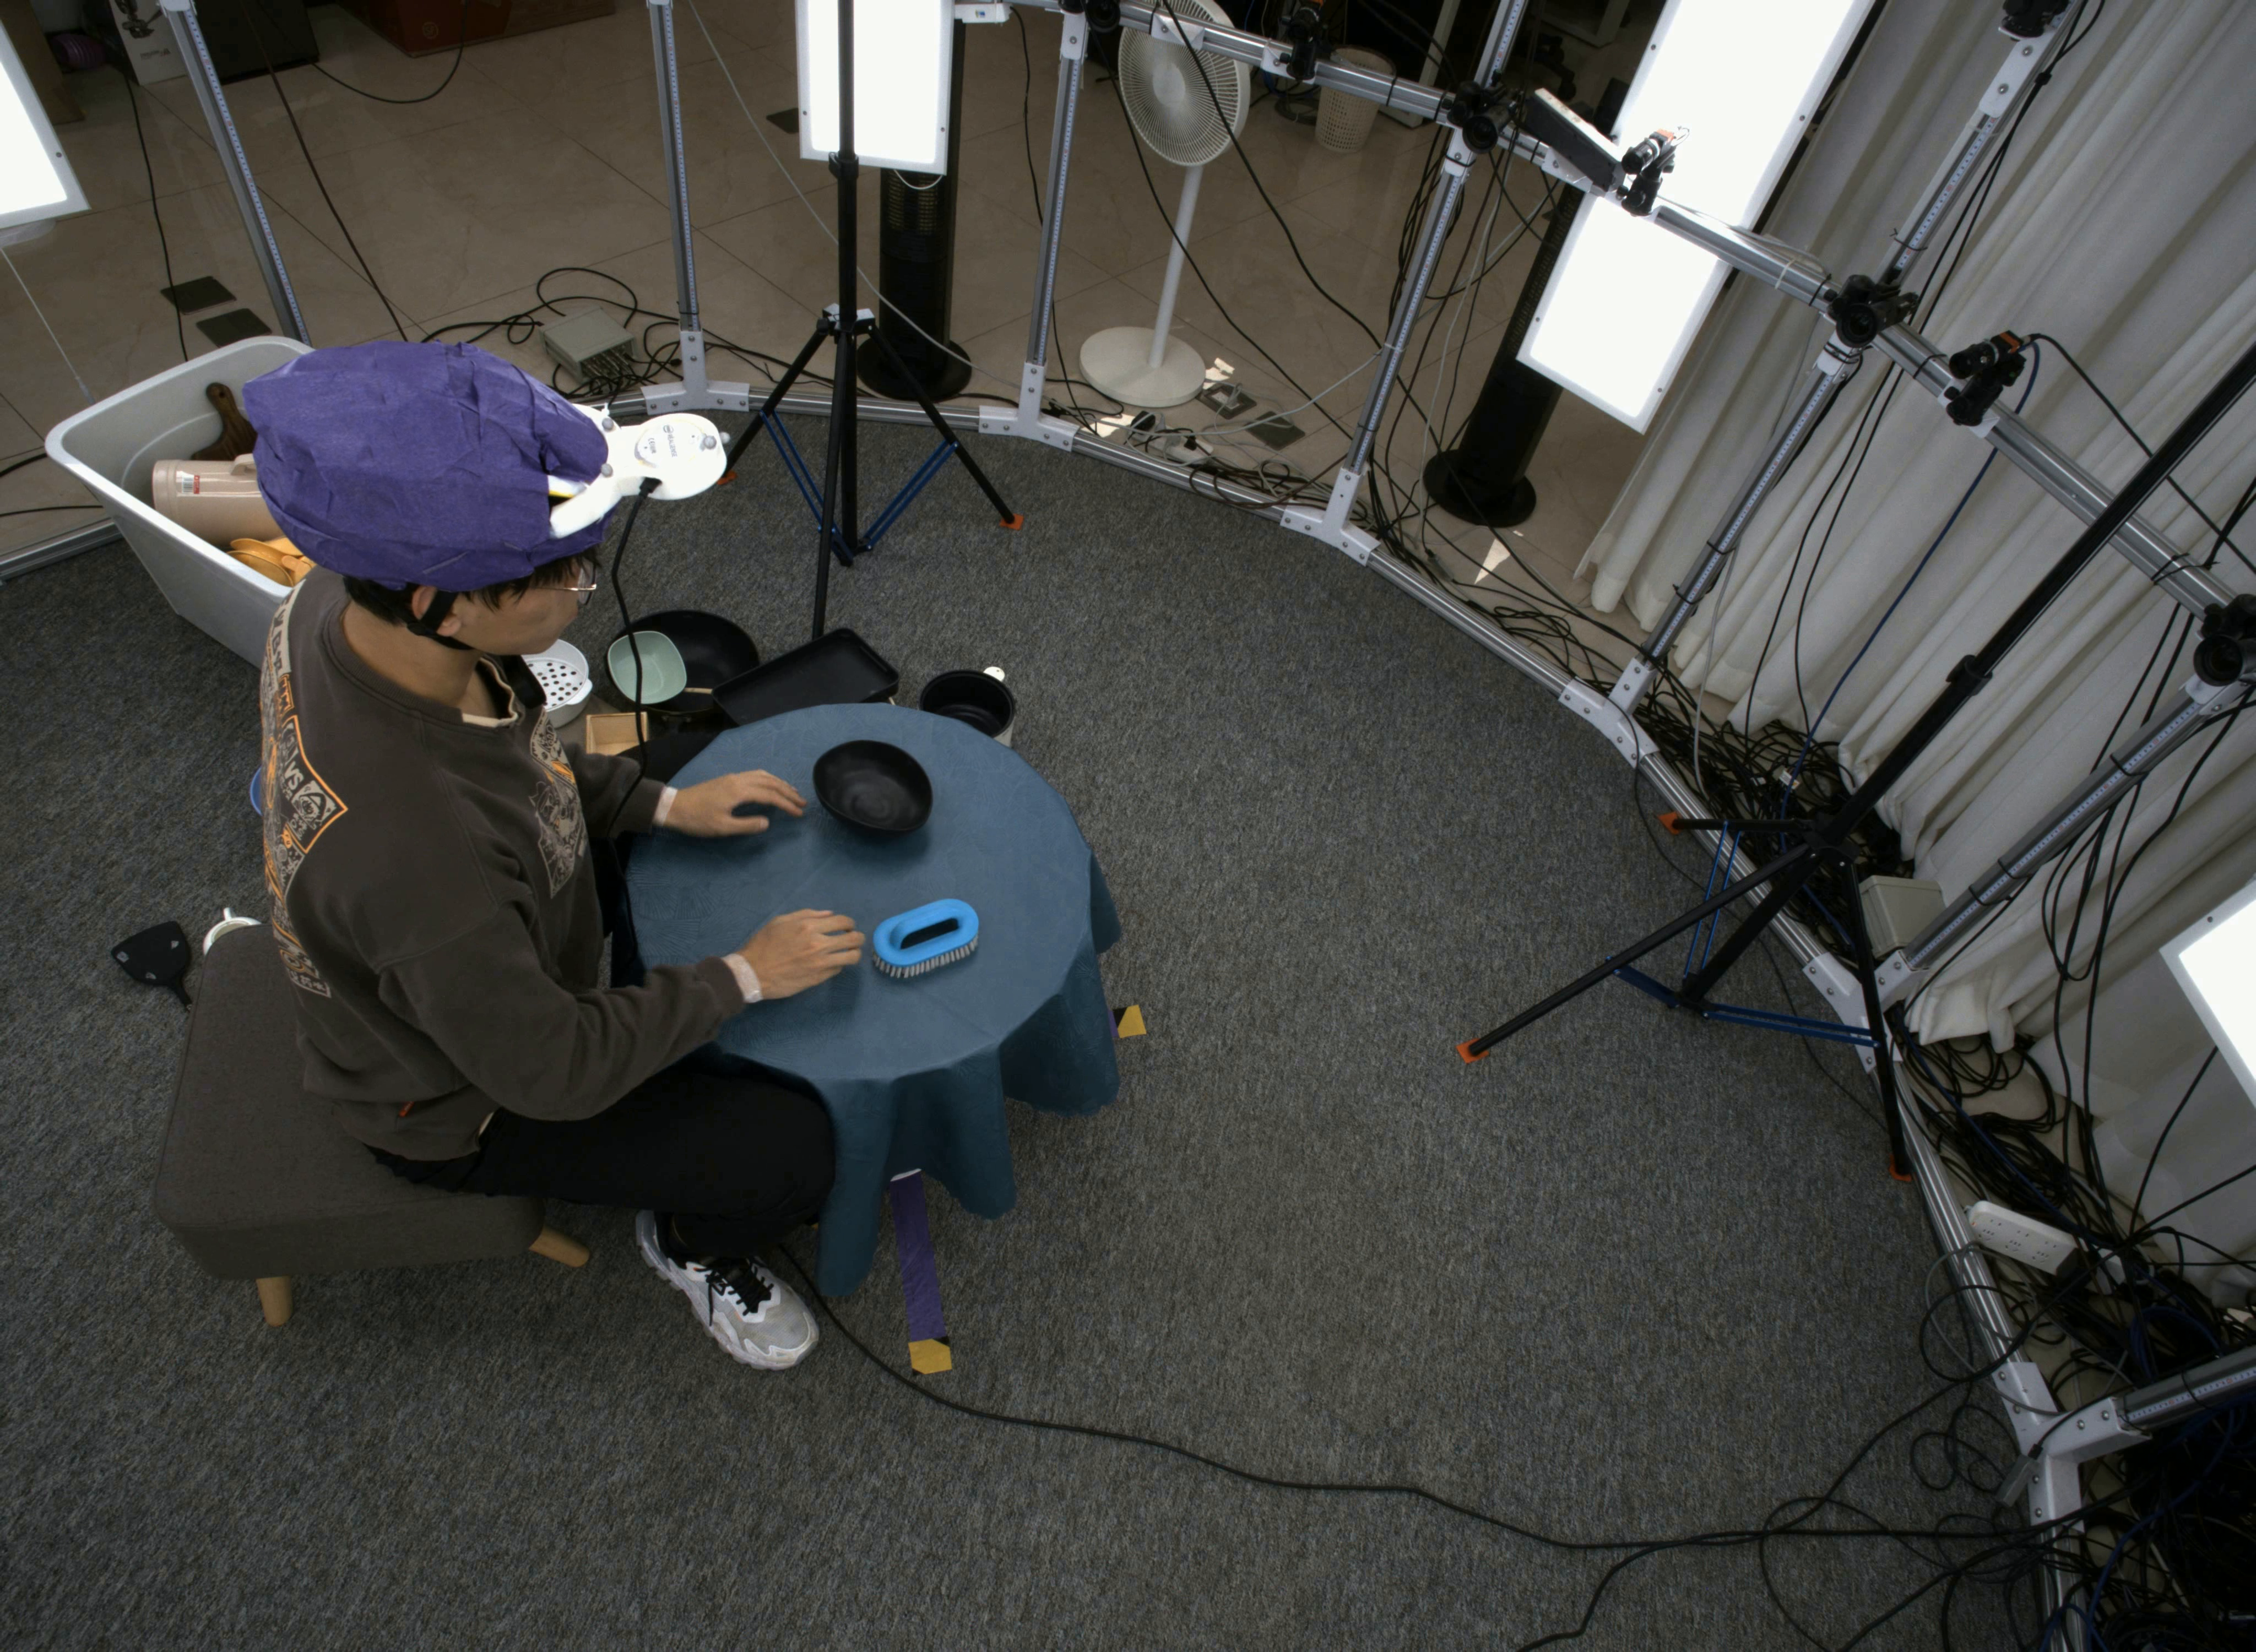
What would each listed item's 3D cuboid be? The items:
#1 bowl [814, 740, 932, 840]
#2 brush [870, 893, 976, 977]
[{"bbox_3d":[-0.342,-0.039,1.747,0.168,0.068,0.137,30,54,8],"label":"bowl"},{"bbox_3d":[-0.256,0.129,1.643,0.142,0.065,0.082,-19,64,-23],"label":"brush"}]
